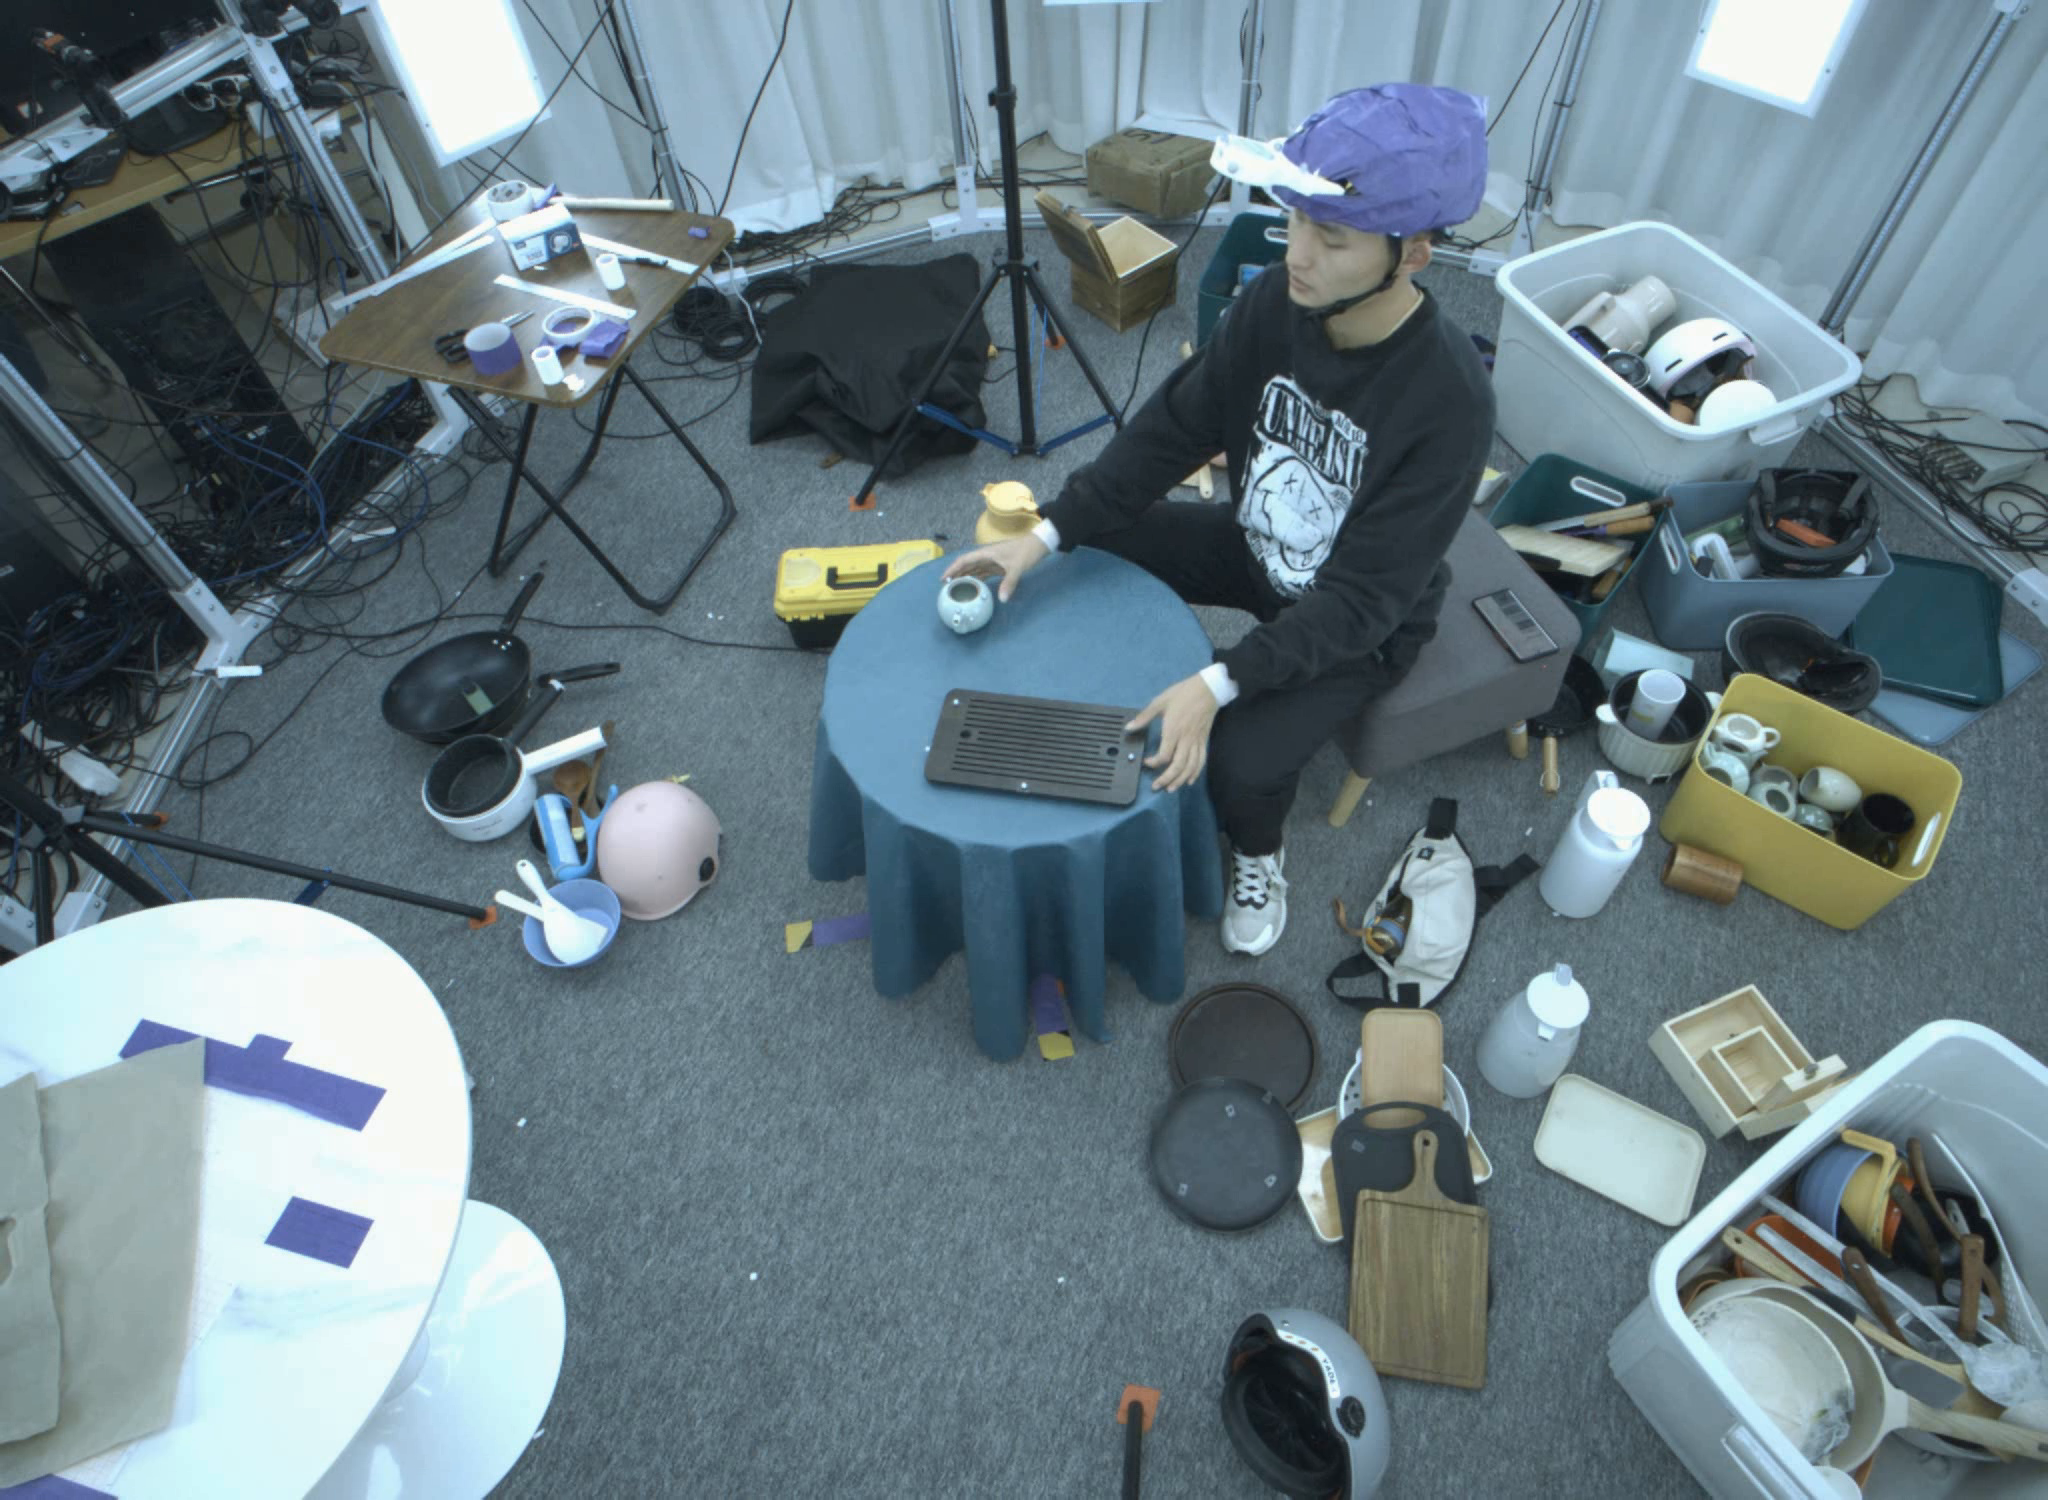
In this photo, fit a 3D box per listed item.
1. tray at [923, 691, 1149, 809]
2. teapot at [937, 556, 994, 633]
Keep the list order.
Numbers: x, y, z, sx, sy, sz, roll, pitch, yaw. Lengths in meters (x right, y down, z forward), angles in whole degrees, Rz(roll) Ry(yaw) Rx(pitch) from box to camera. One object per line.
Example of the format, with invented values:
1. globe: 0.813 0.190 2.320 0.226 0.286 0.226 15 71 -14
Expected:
1. tray: 0.020 -0.001 1.772 0.304 0.019 0.169 7 55 7
2. teapot: -0.092 -0.228 1.904 0.088 0.075 0.143 6 57 7
